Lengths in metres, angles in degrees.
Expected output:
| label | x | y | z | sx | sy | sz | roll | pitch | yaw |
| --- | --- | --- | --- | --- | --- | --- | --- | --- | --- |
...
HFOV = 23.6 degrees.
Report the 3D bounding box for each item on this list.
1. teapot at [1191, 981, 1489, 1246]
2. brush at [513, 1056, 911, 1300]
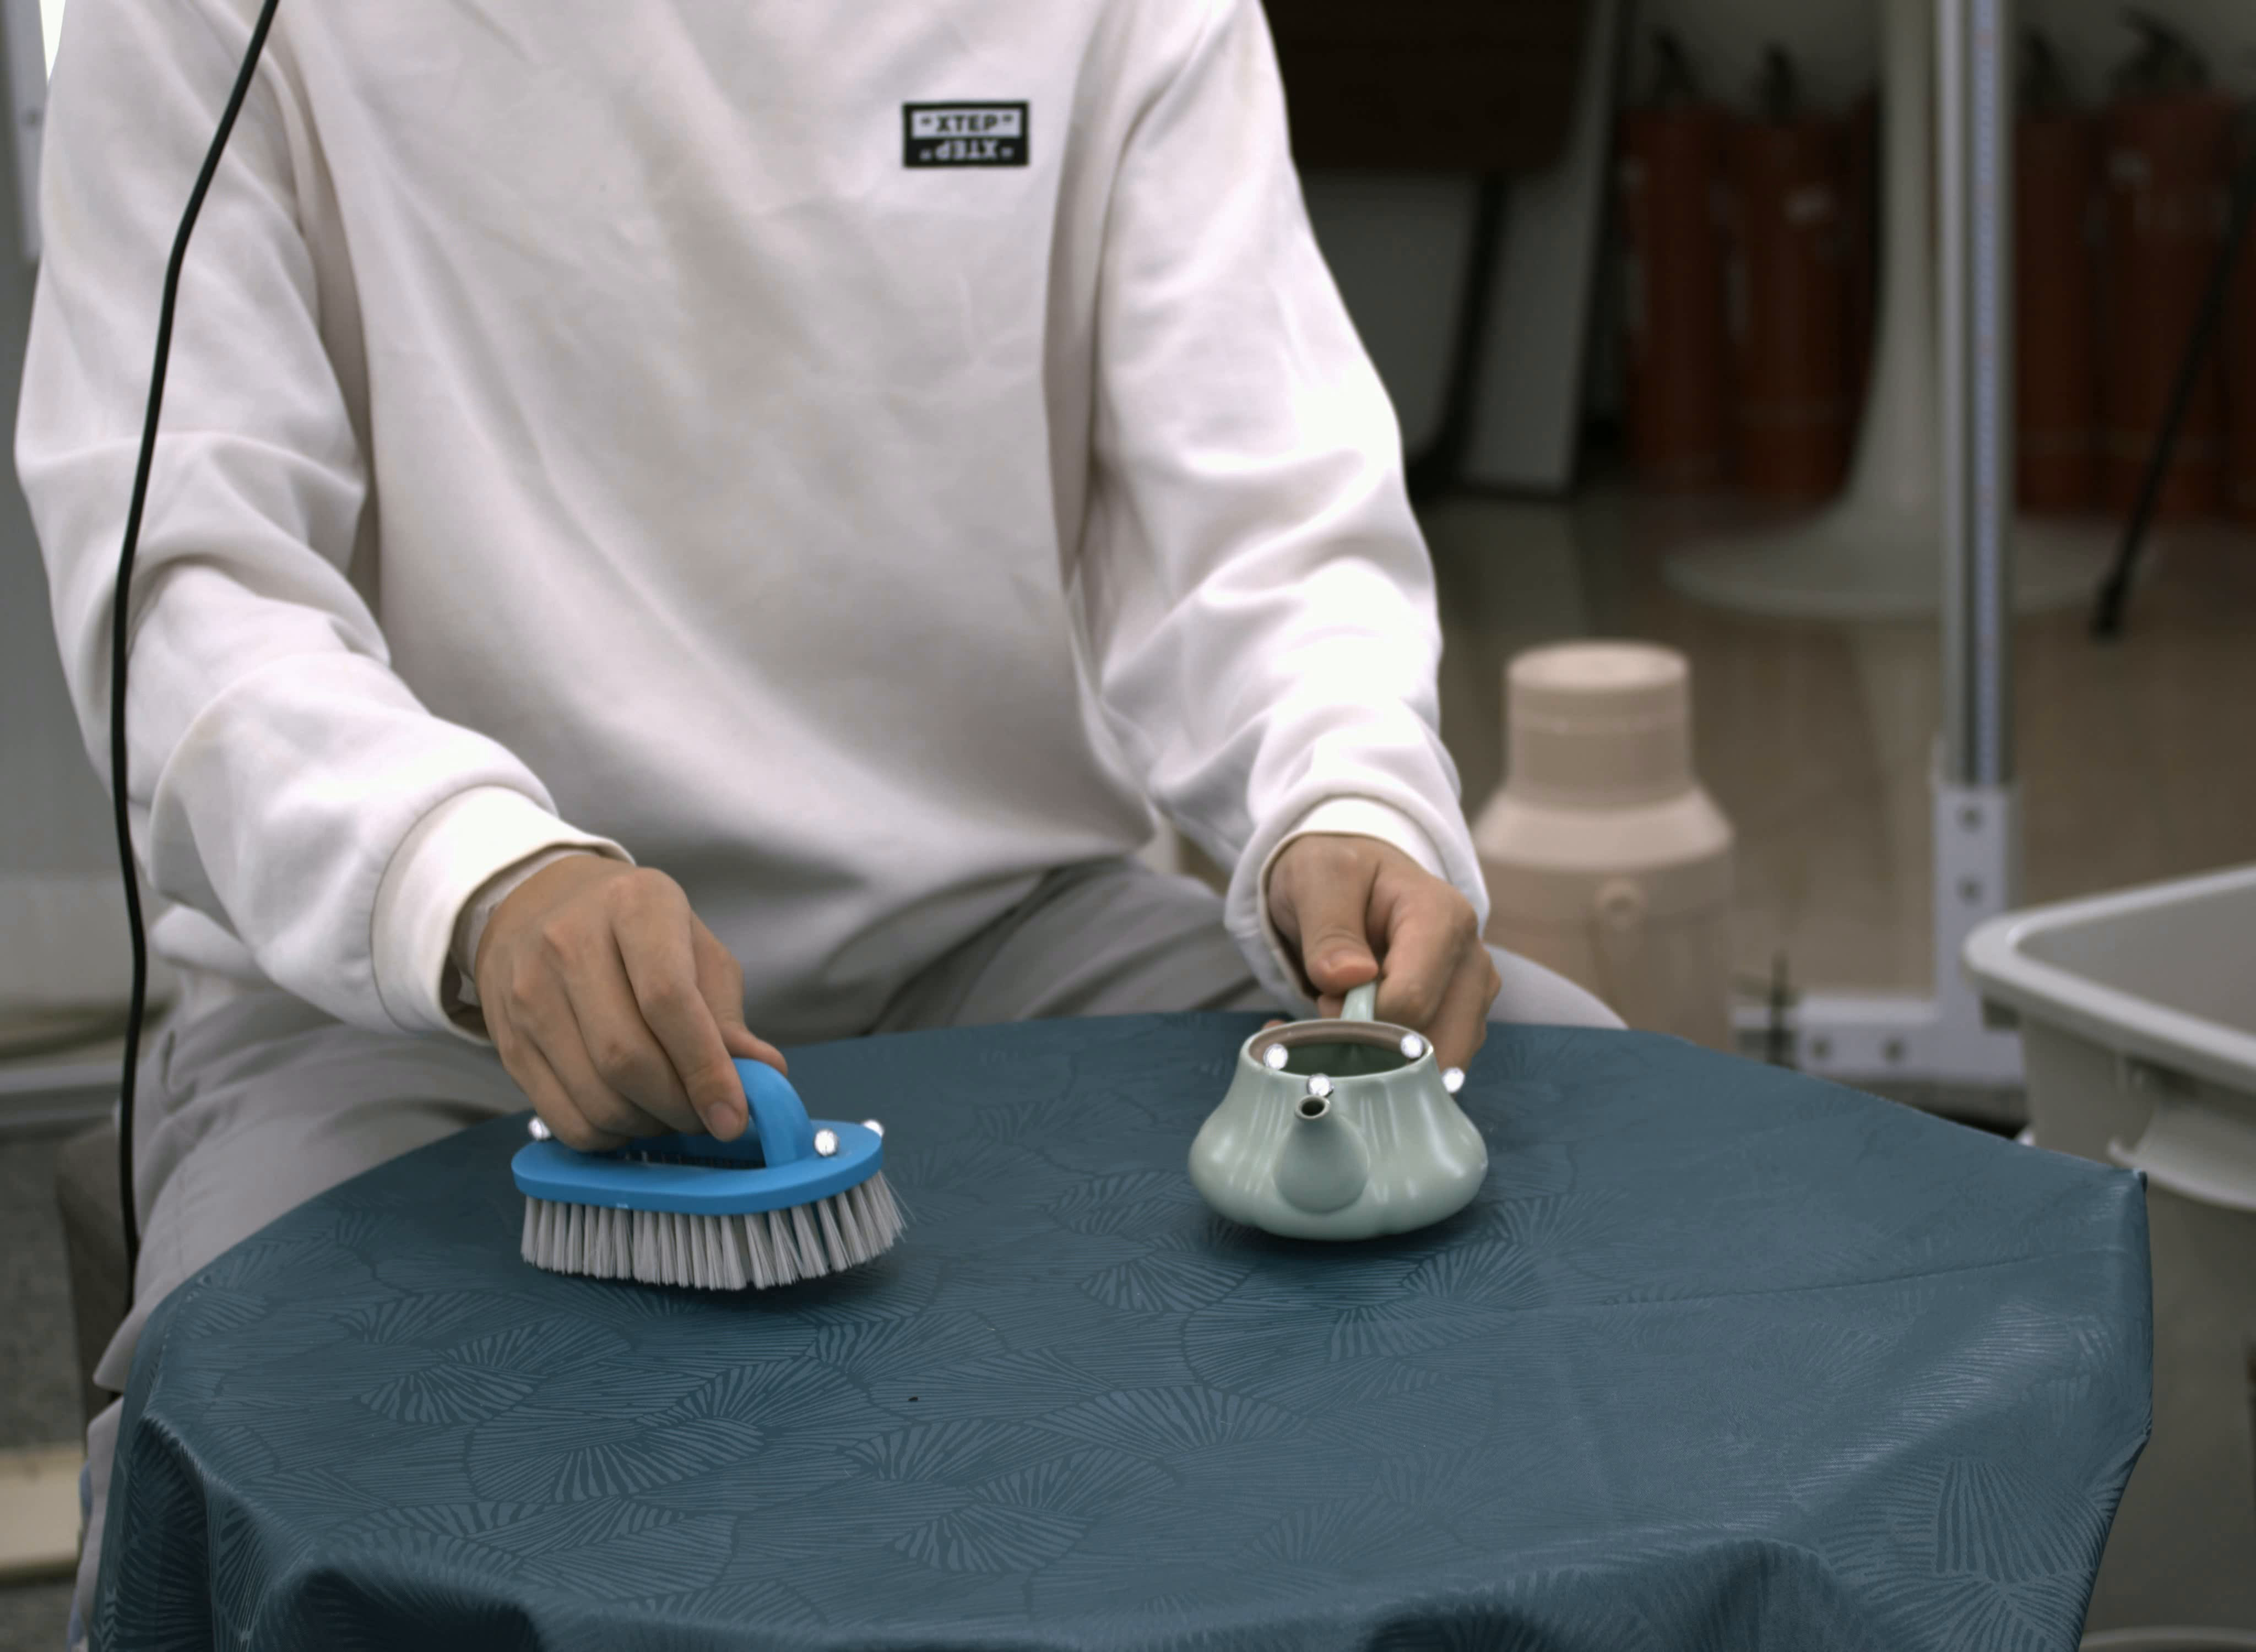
| label | x | y | z | sx | sy | sz | roll | pitch | yaw |
| --- | --- | --- | --- | --- | --- | --- | --- | --- | --- |
| teapot | 0.068 | 0.096 | 1.727 | 0.095 | 0.062 | 0.136 | -1 | 16 | 9 |
| brush | -0.138 | 0.105 | 1.721 | 0.143 | 0.064 | 0.083 | -2 | 19 | 40 |
